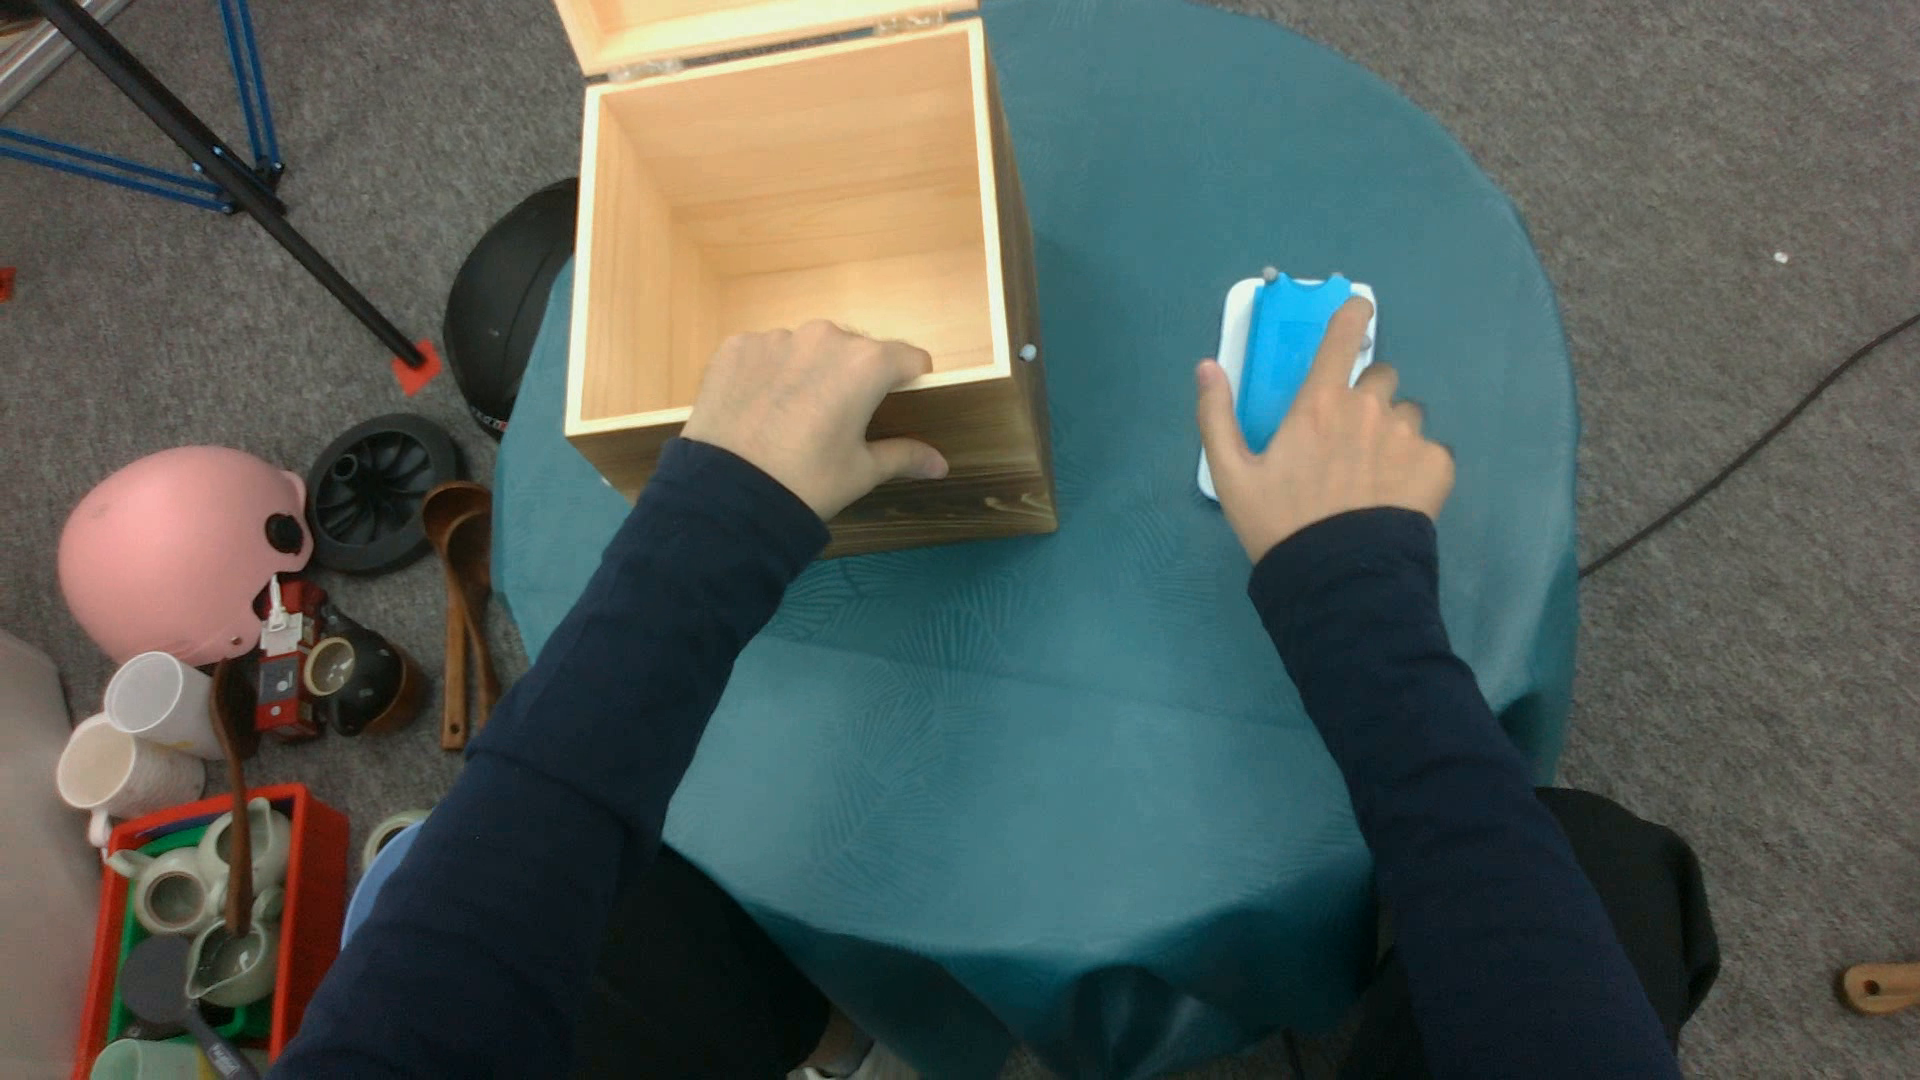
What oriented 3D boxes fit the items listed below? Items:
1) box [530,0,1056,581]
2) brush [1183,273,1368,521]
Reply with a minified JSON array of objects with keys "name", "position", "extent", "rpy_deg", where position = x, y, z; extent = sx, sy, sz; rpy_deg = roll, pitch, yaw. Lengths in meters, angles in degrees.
[{"name":"box","position":[-0.096,-0.196,0.661],"extent":[0.208,0.374,0.323],"rpy_deg":[-9,66,9]},{"name":"brush","position":[0.166,-0.082,0.722],"extent":[0.084,0.056,0.144],"rpy_deg":[7,66,18]}]
